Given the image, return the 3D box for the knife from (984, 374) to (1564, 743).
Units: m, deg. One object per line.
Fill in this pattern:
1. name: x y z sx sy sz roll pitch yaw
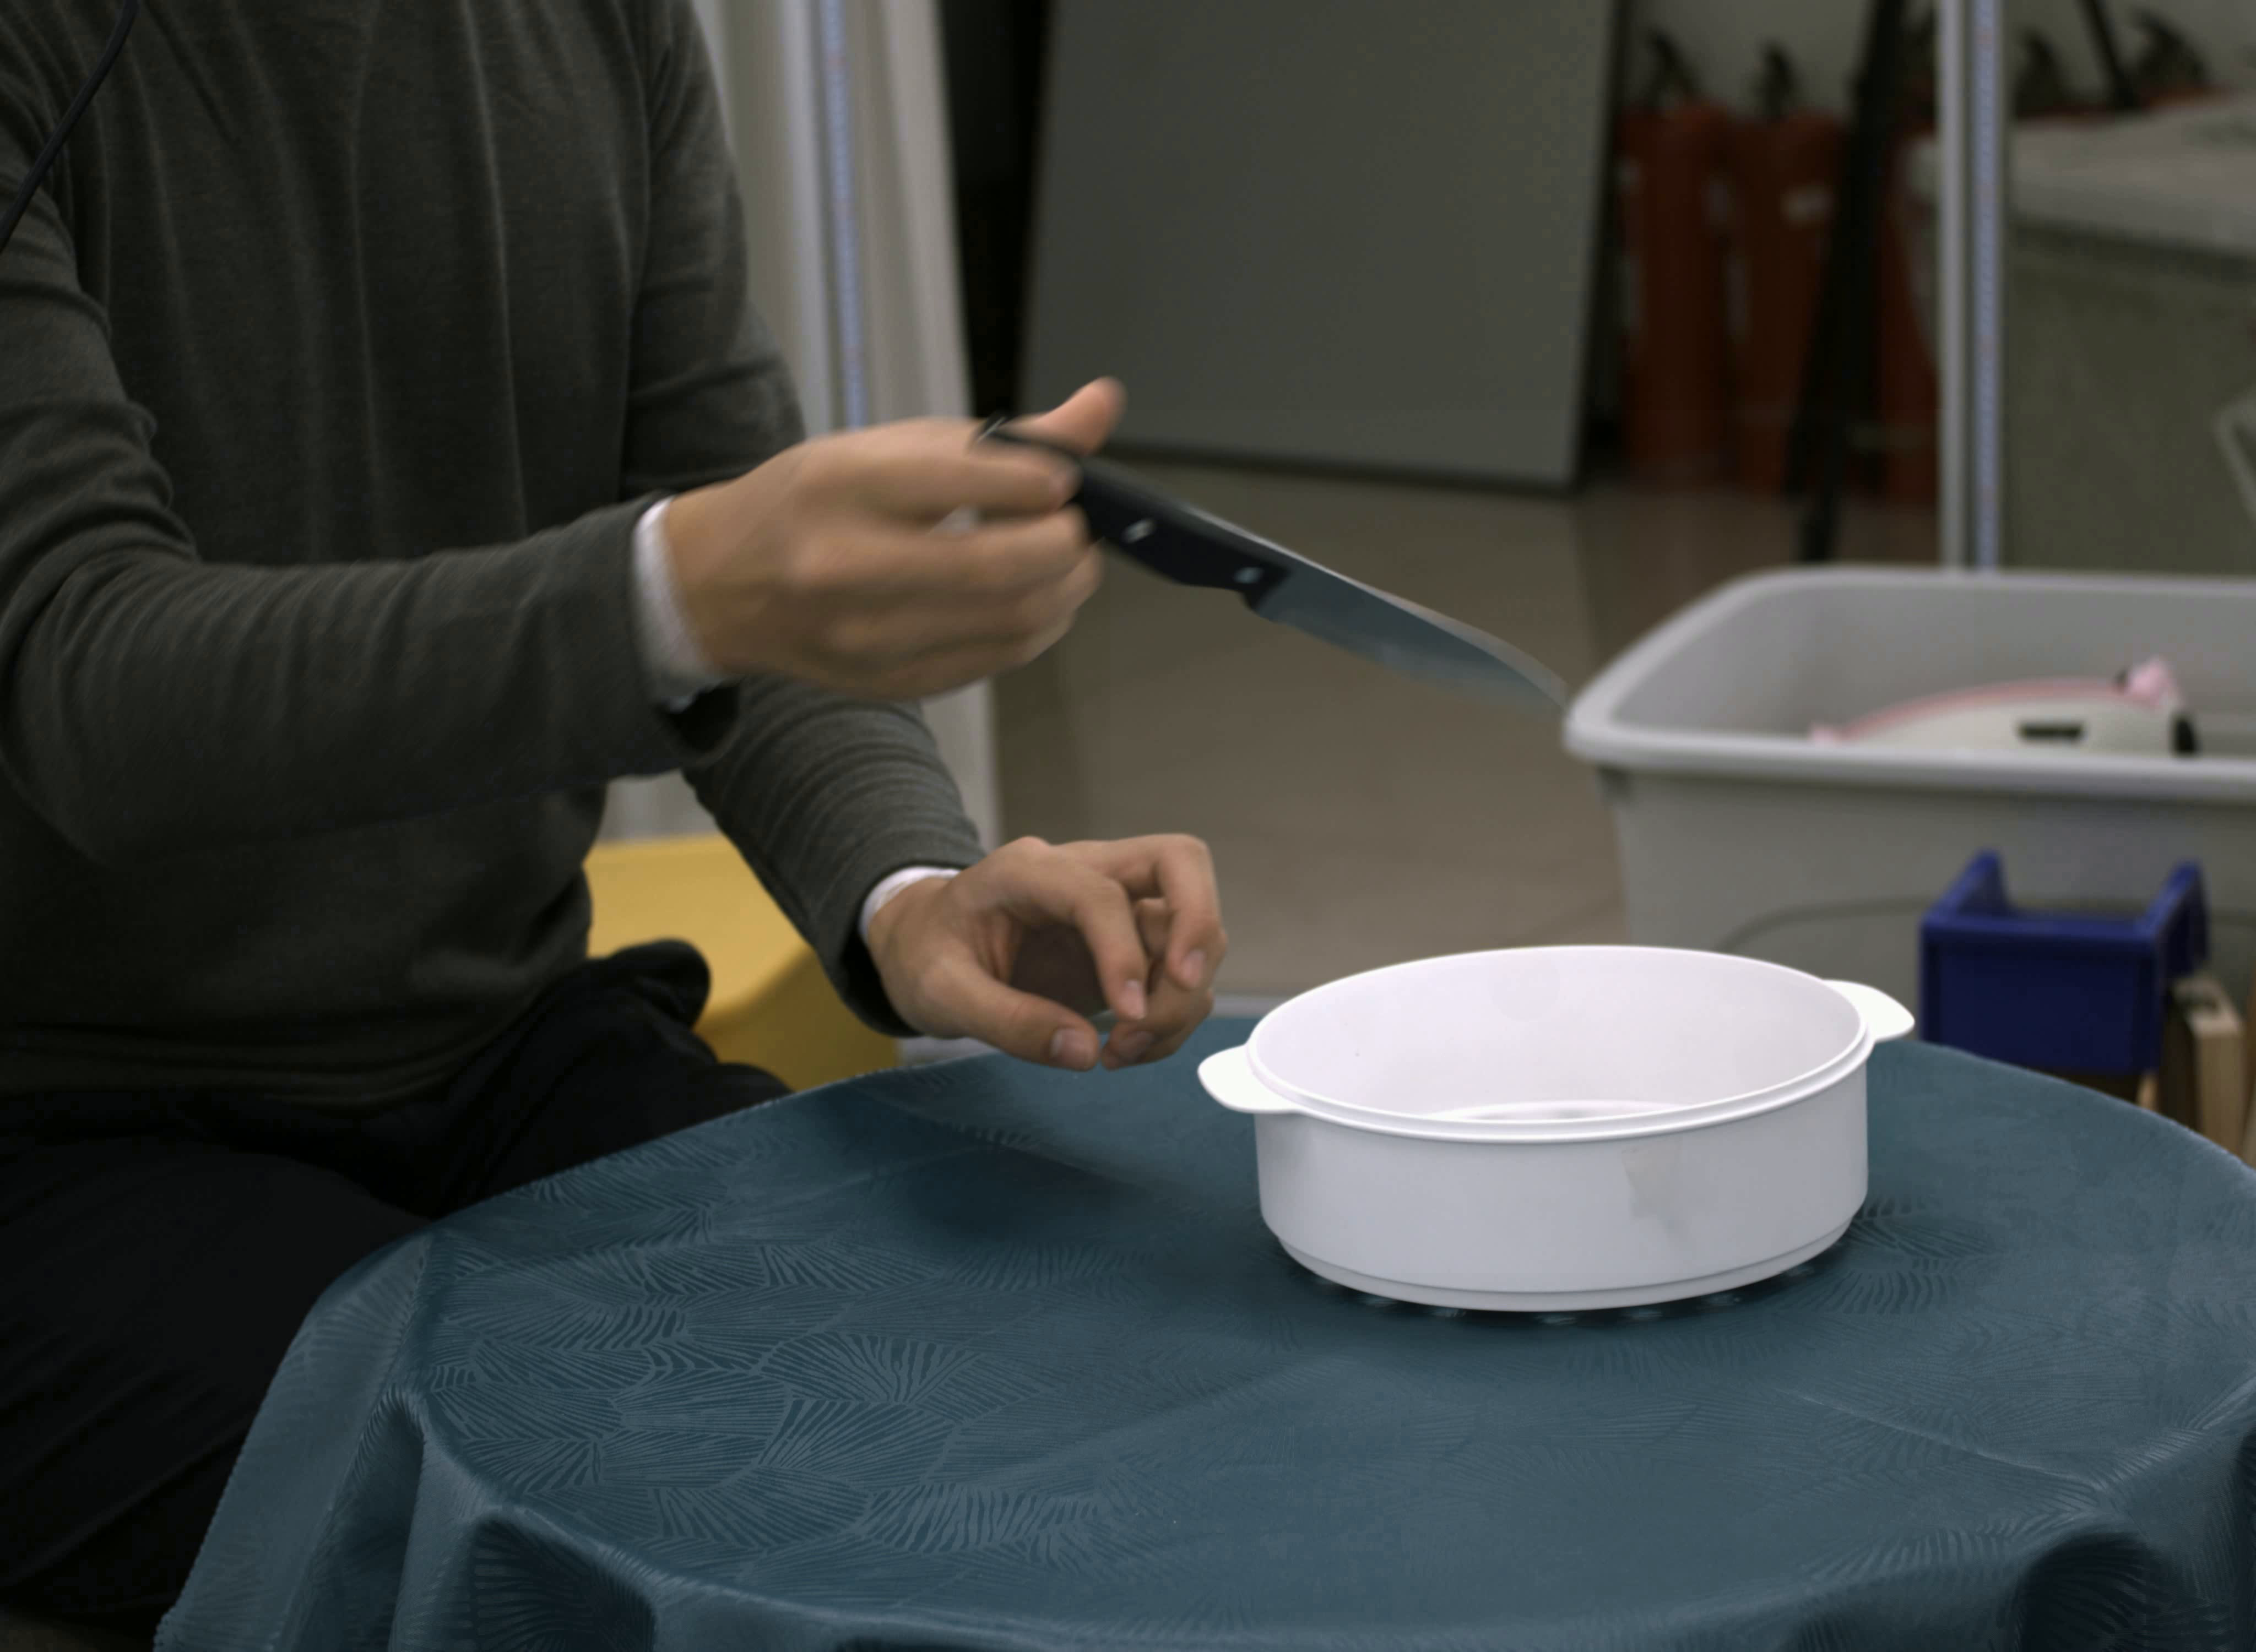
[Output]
1. knife: 0.049 -0.073 1.543 0.234 0.024 0.016 29 22 -36

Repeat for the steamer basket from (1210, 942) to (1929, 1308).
1. steamer basket: 0.141 0.094 1.698 0.227 0.070 0.203 -7 13 -8
